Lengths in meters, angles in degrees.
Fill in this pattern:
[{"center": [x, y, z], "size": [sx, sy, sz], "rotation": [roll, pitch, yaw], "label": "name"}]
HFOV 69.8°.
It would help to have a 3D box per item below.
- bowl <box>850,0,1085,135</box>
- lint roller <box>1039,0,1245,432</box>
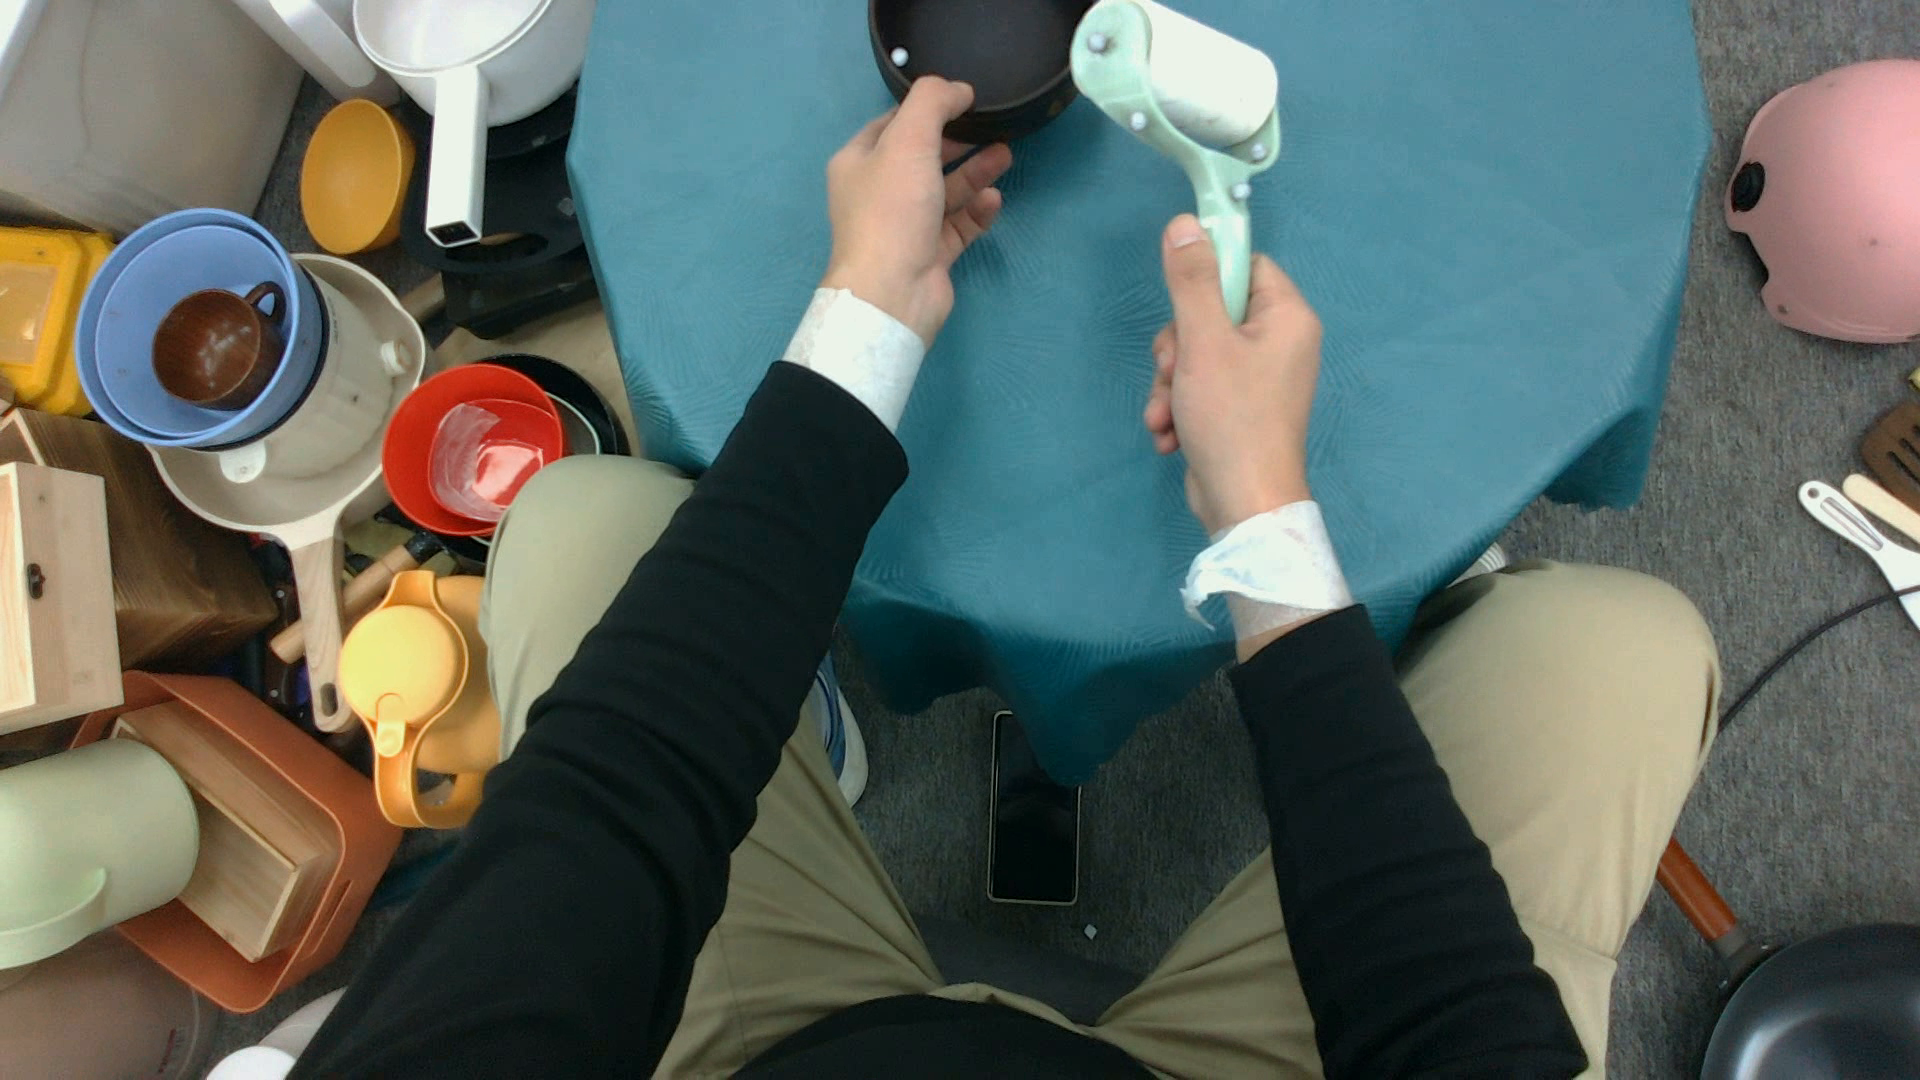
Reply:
[{"center": [0.005, -0.264, 0.710], "size": [0.118, 0.070, 0.118], "rotation": [0, 82, 1], "label": "bowl"}, {"center": [0.095, -0.149, 0.633], "size": [0.048, 0.117, 0.197], "rotation": [-13, 82, 40], "label": "lint roller"}]
